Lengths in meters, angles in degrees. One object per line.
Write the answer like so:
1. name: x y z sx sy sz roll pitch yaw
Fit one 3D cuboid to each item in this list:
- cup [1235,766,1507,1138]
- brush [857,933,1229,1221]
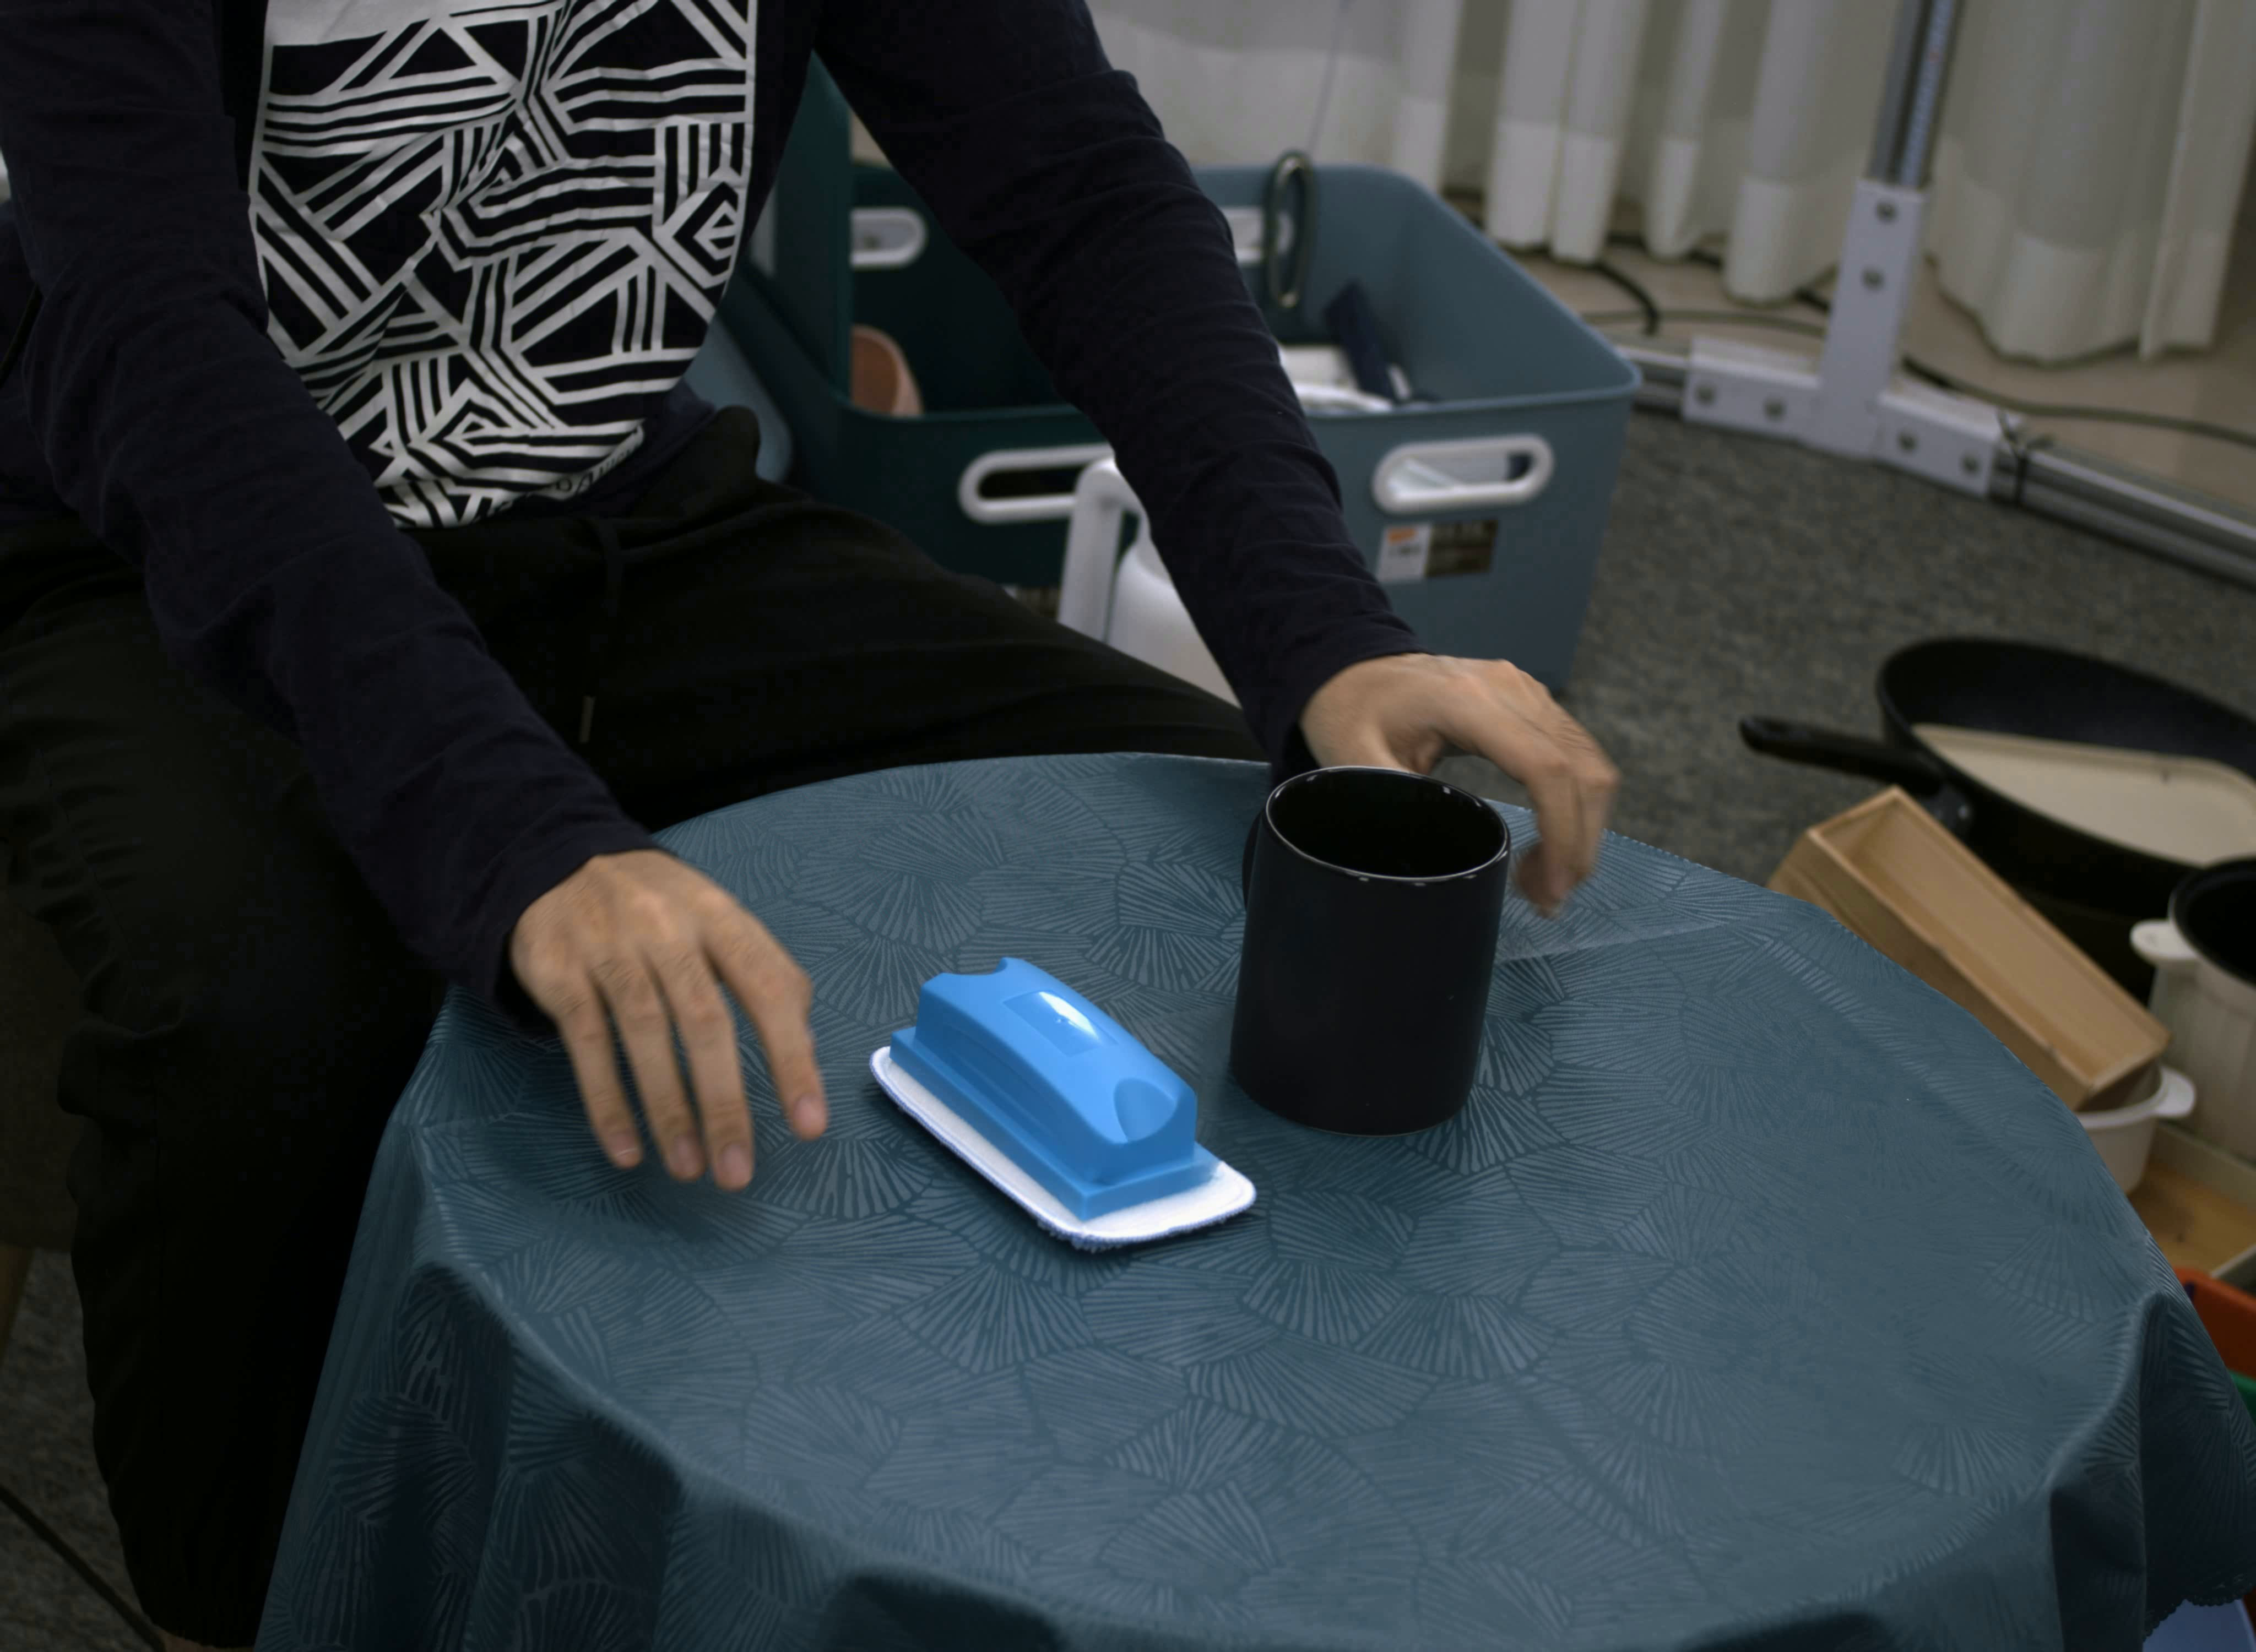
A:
1. cup: 0.077 0.037 1.883 0.088 0.105 0.125 -9 28 -25
2. brush: -0.026 0.081 1.817 0.083 0.056 0.145 -8 33 -33
